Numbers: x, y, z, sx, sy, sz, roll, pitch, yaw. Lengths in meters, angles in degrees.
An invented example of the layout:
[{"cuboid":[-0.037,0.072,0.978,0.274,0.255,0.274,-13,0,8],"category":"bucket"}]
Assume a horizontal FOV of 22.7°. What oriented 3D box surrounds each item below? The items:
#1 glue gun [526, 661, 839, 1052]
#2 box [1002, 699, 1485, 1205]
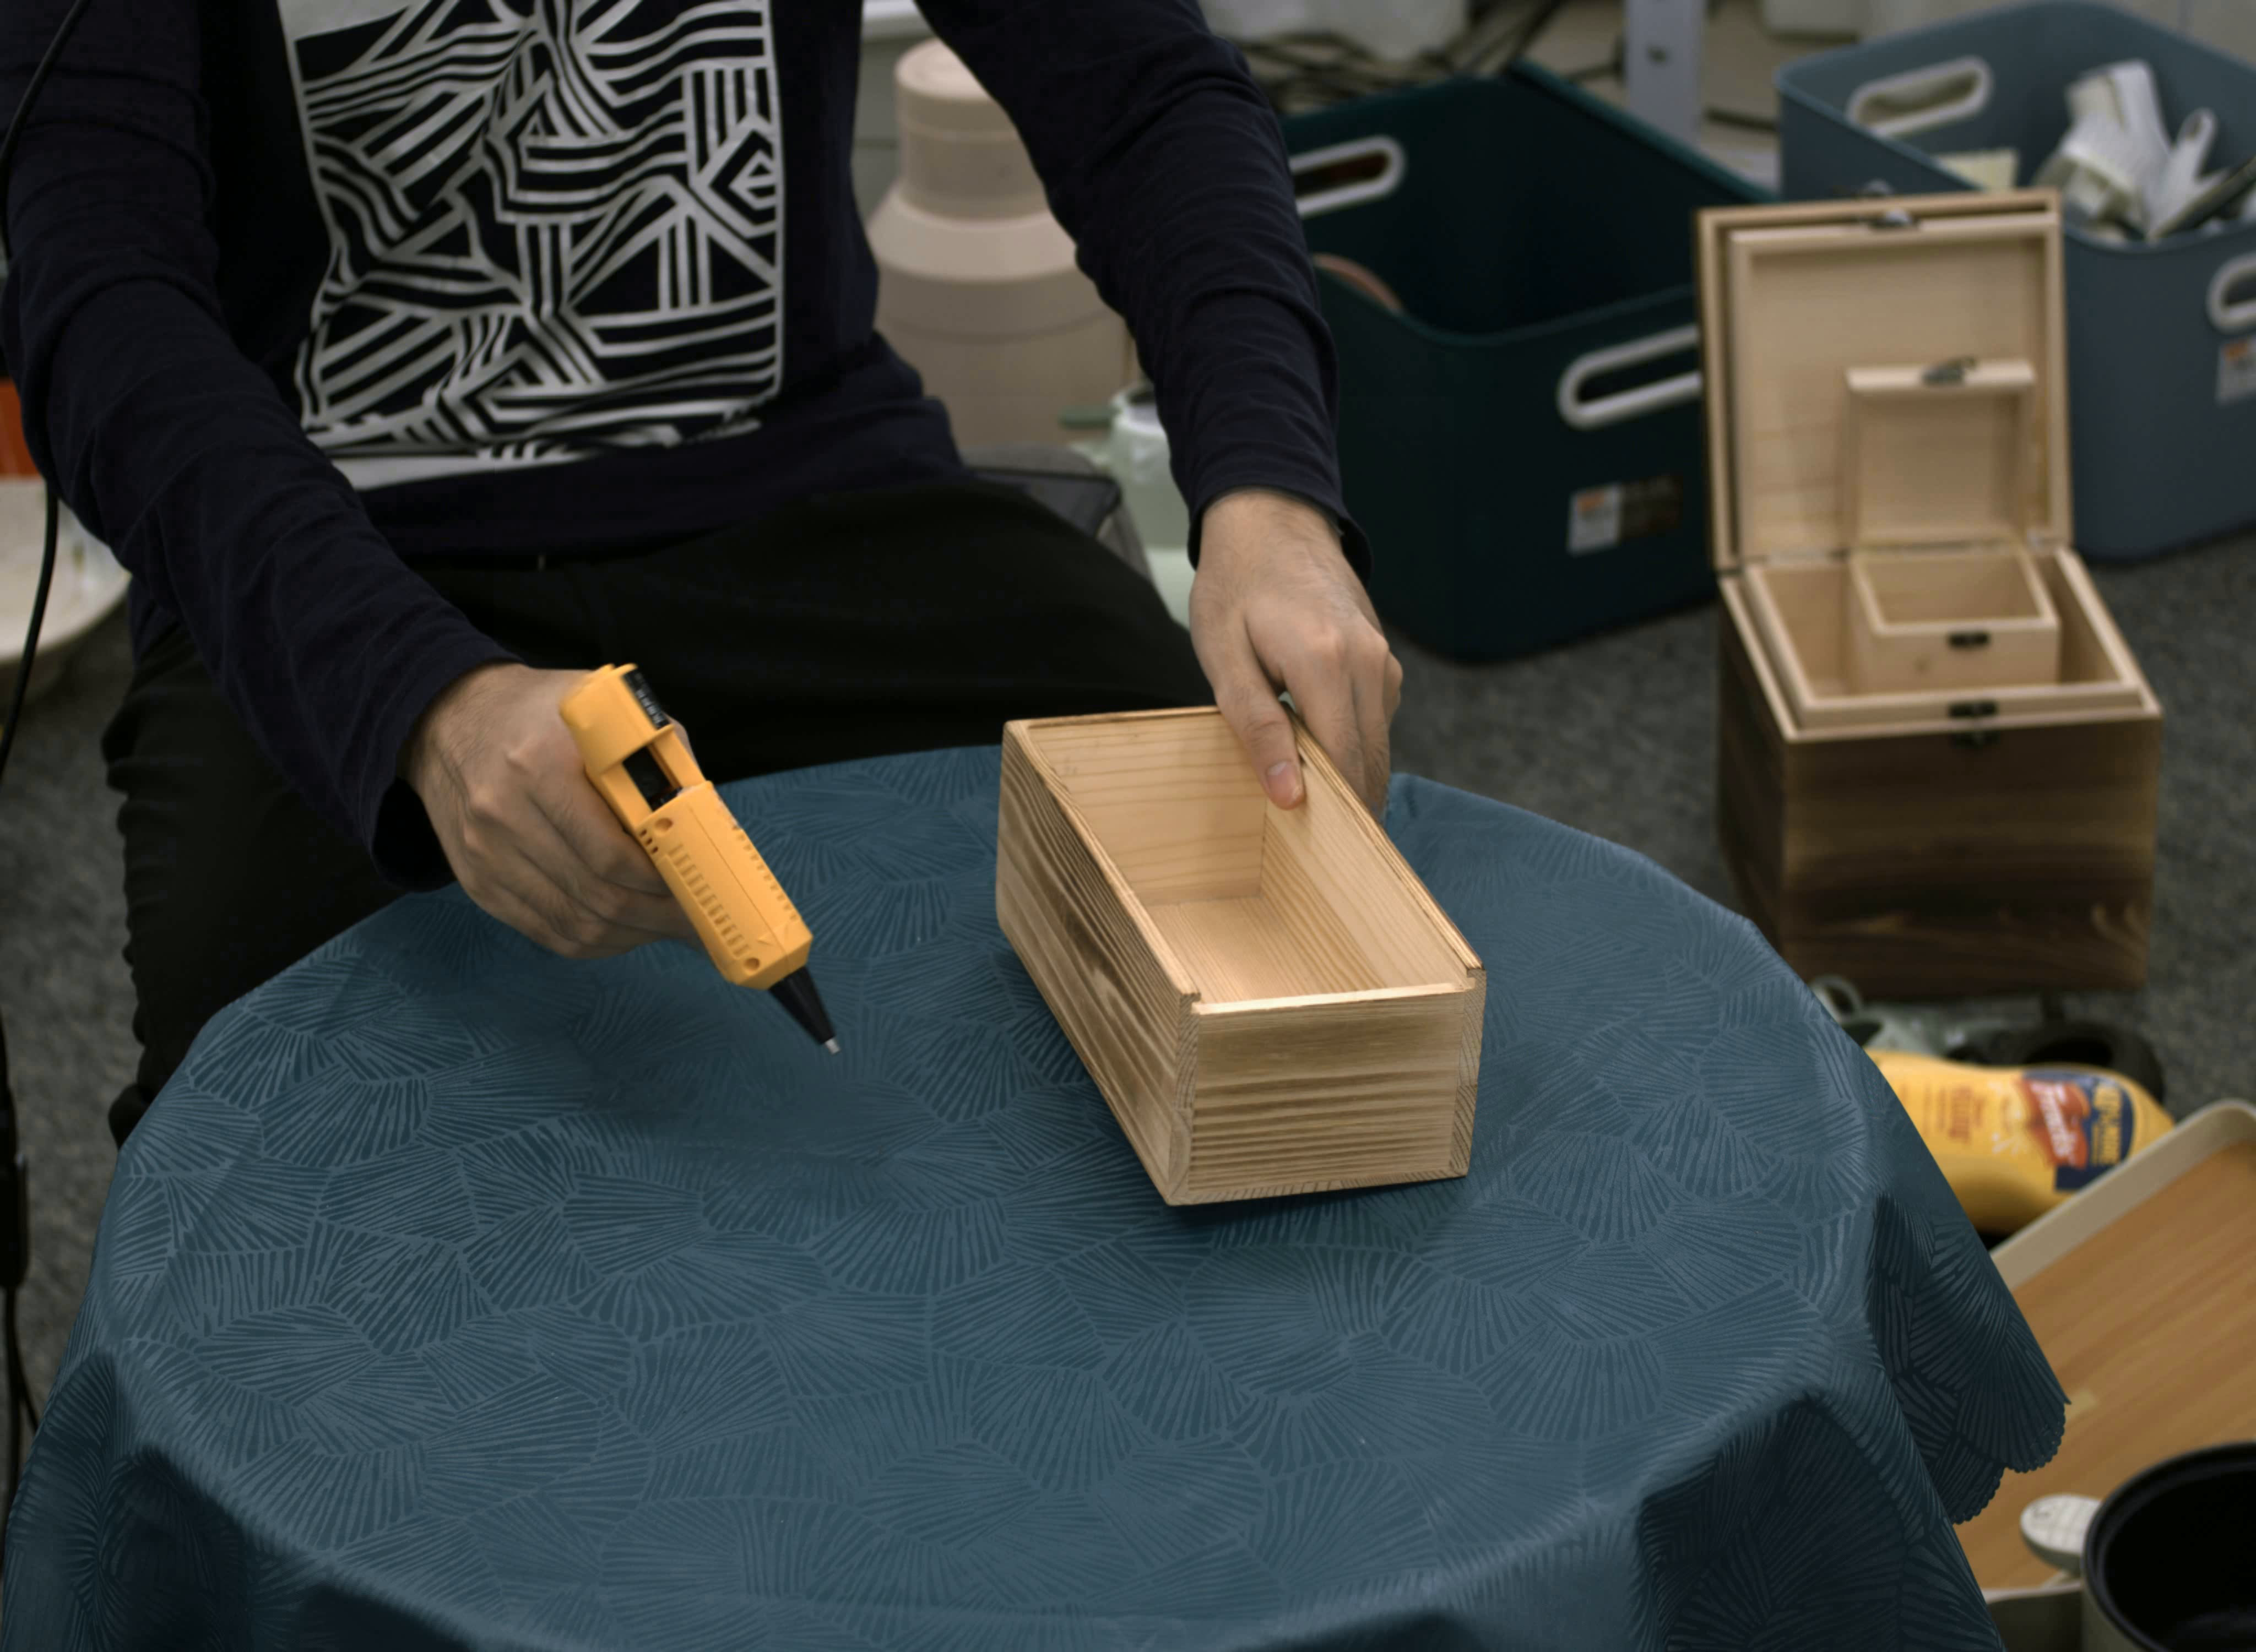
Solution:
[{"cuboid":[-0.150,0.027,1.918,0.031,0.152,0.131,-33,-8,-22],"category":"glue gun"},{"cuboid":[0.035,0.039,1.923,0.107,0.079,0.213,-3,27,-16],"category":"box"}]
